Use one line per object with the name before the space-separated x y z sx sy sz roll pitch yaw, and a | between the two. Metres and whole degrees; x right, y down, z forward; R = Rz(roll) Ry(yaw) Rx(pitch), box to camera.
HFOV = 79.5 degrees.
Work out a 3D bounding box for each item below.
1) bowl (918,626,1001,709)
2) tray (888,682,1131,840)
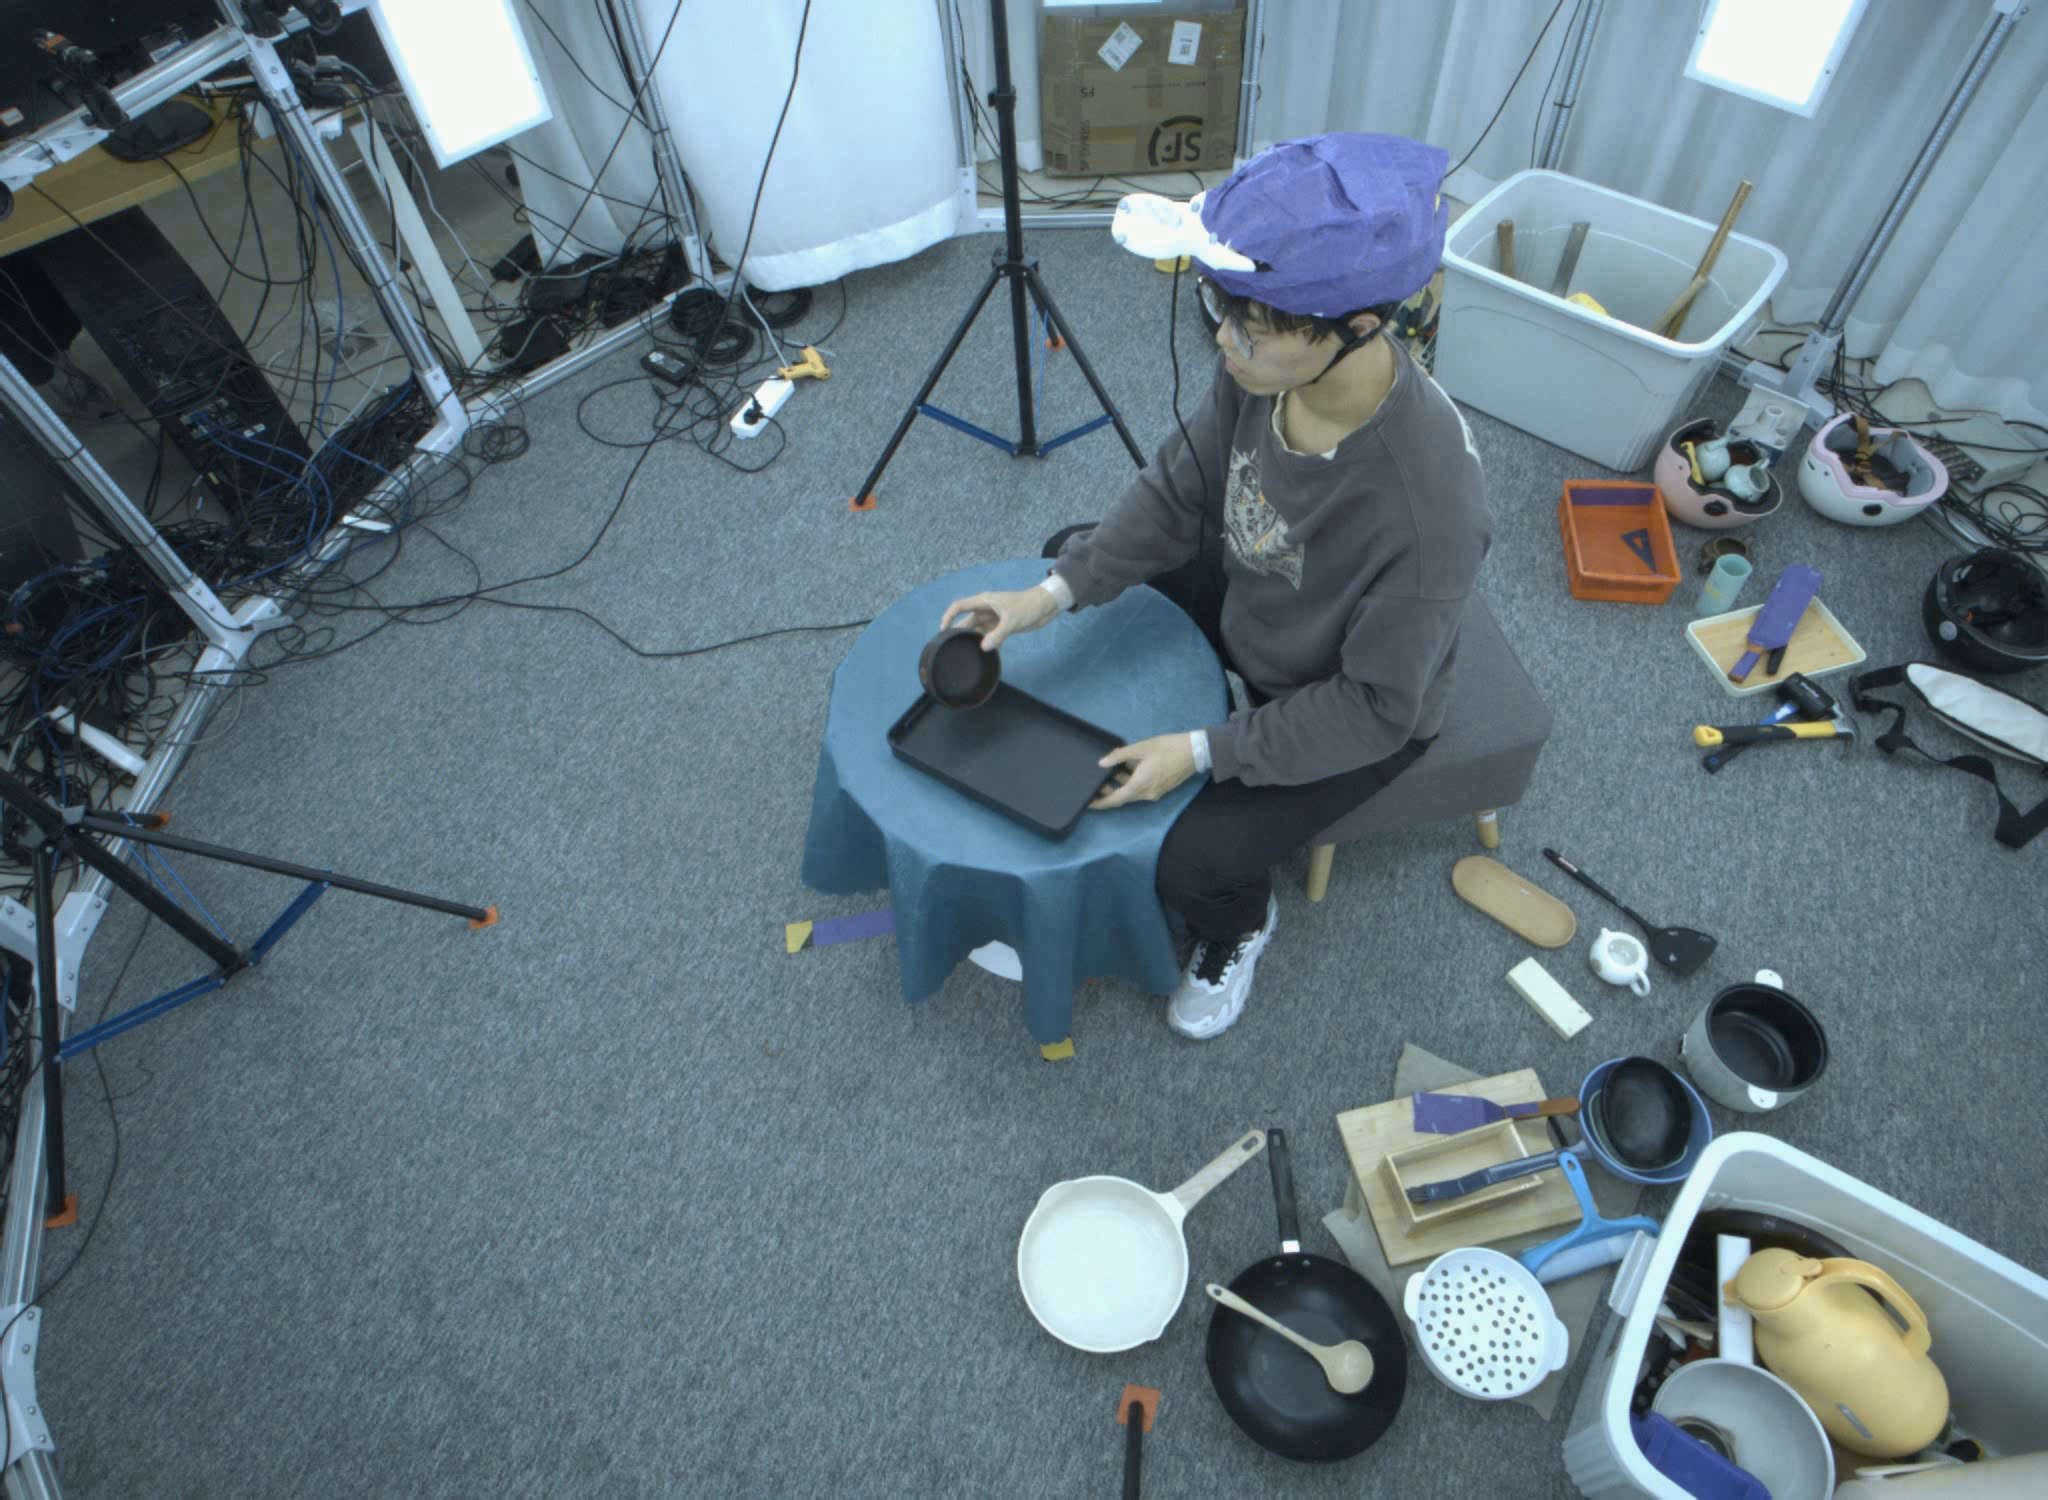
bowl | -0.099 -0.120 1.750 0.119 0.120 0.068 -37 28 -21
tray | -0.021 -0.001 1.757 0.313 0.037 0.185 25 58 22
